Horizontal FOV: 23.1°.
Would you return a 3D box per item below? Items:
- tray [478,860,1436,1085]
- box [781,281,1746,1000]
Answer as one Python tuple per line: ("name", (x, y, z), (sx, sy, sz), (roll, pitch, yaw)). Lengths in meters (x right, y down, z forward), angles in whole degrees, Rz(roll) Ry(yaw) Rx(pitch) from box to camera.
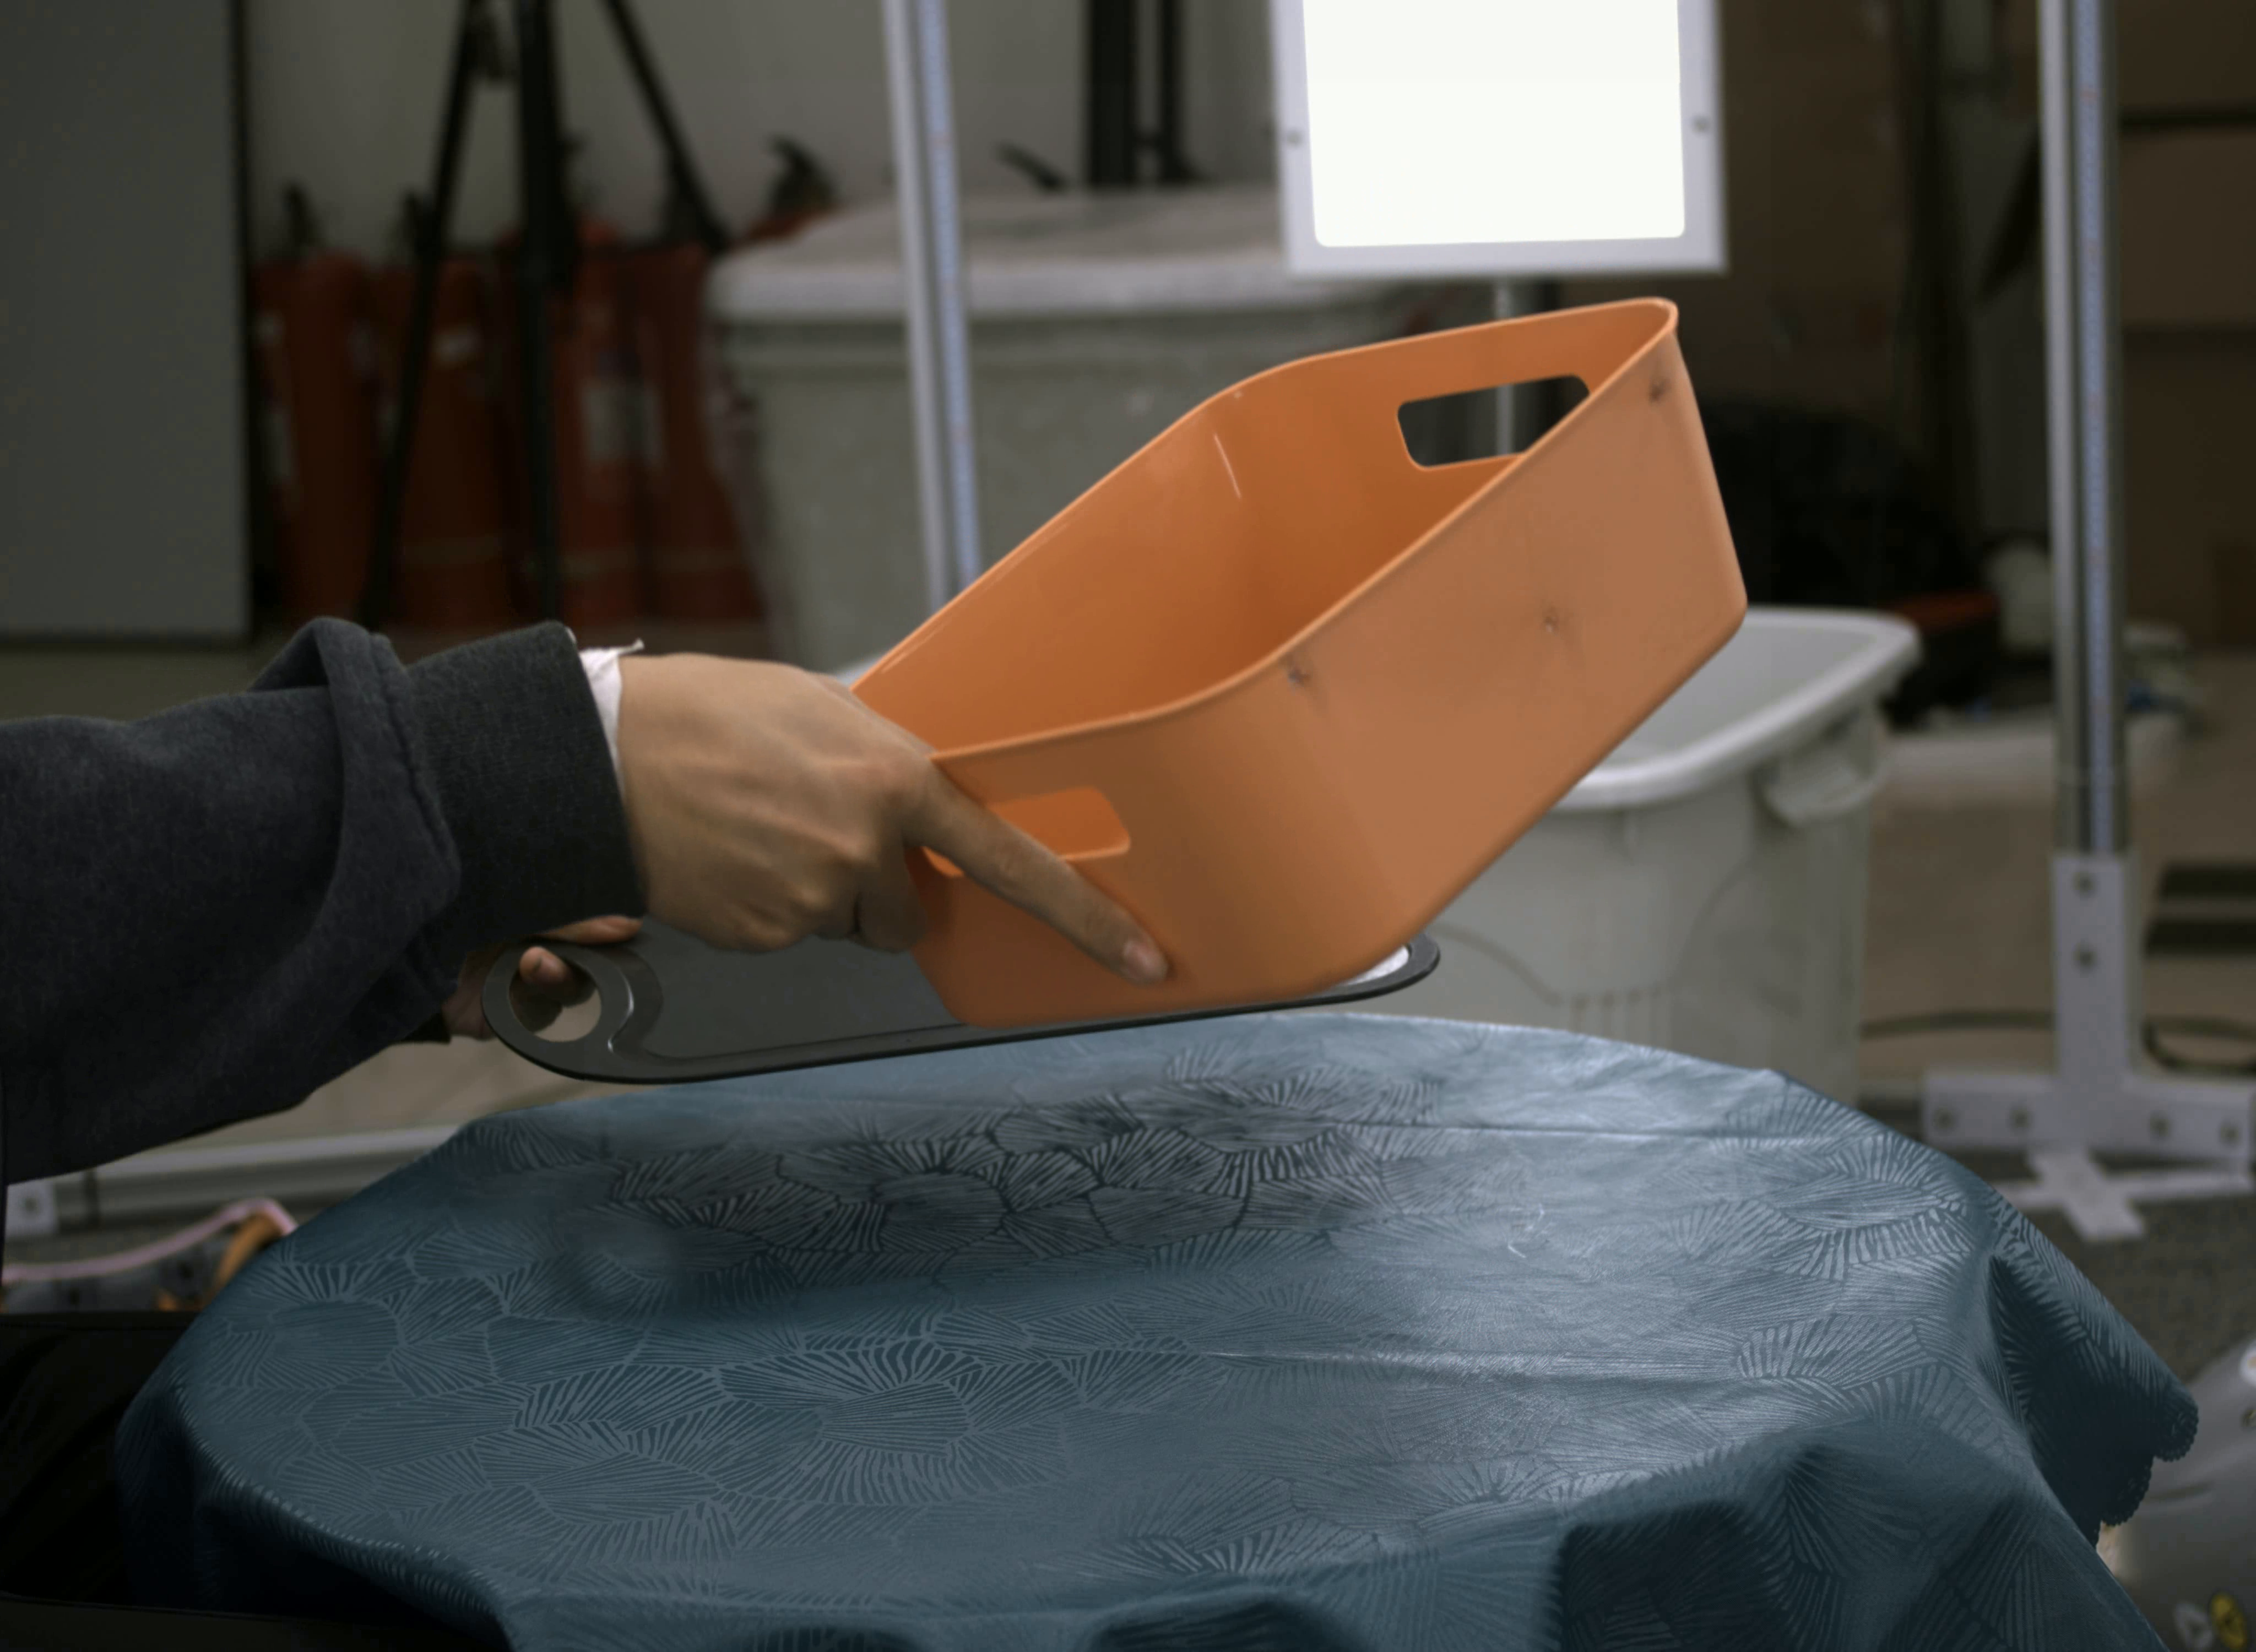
("tray", (-0.064, 0.041, 1.919), (0.322, 0.010, 0.212), (-7, 17, -7))
("box", (0.048, -0.052, 1.621), (0.204, 0.102, 0.267), (-6, 25, 44))
